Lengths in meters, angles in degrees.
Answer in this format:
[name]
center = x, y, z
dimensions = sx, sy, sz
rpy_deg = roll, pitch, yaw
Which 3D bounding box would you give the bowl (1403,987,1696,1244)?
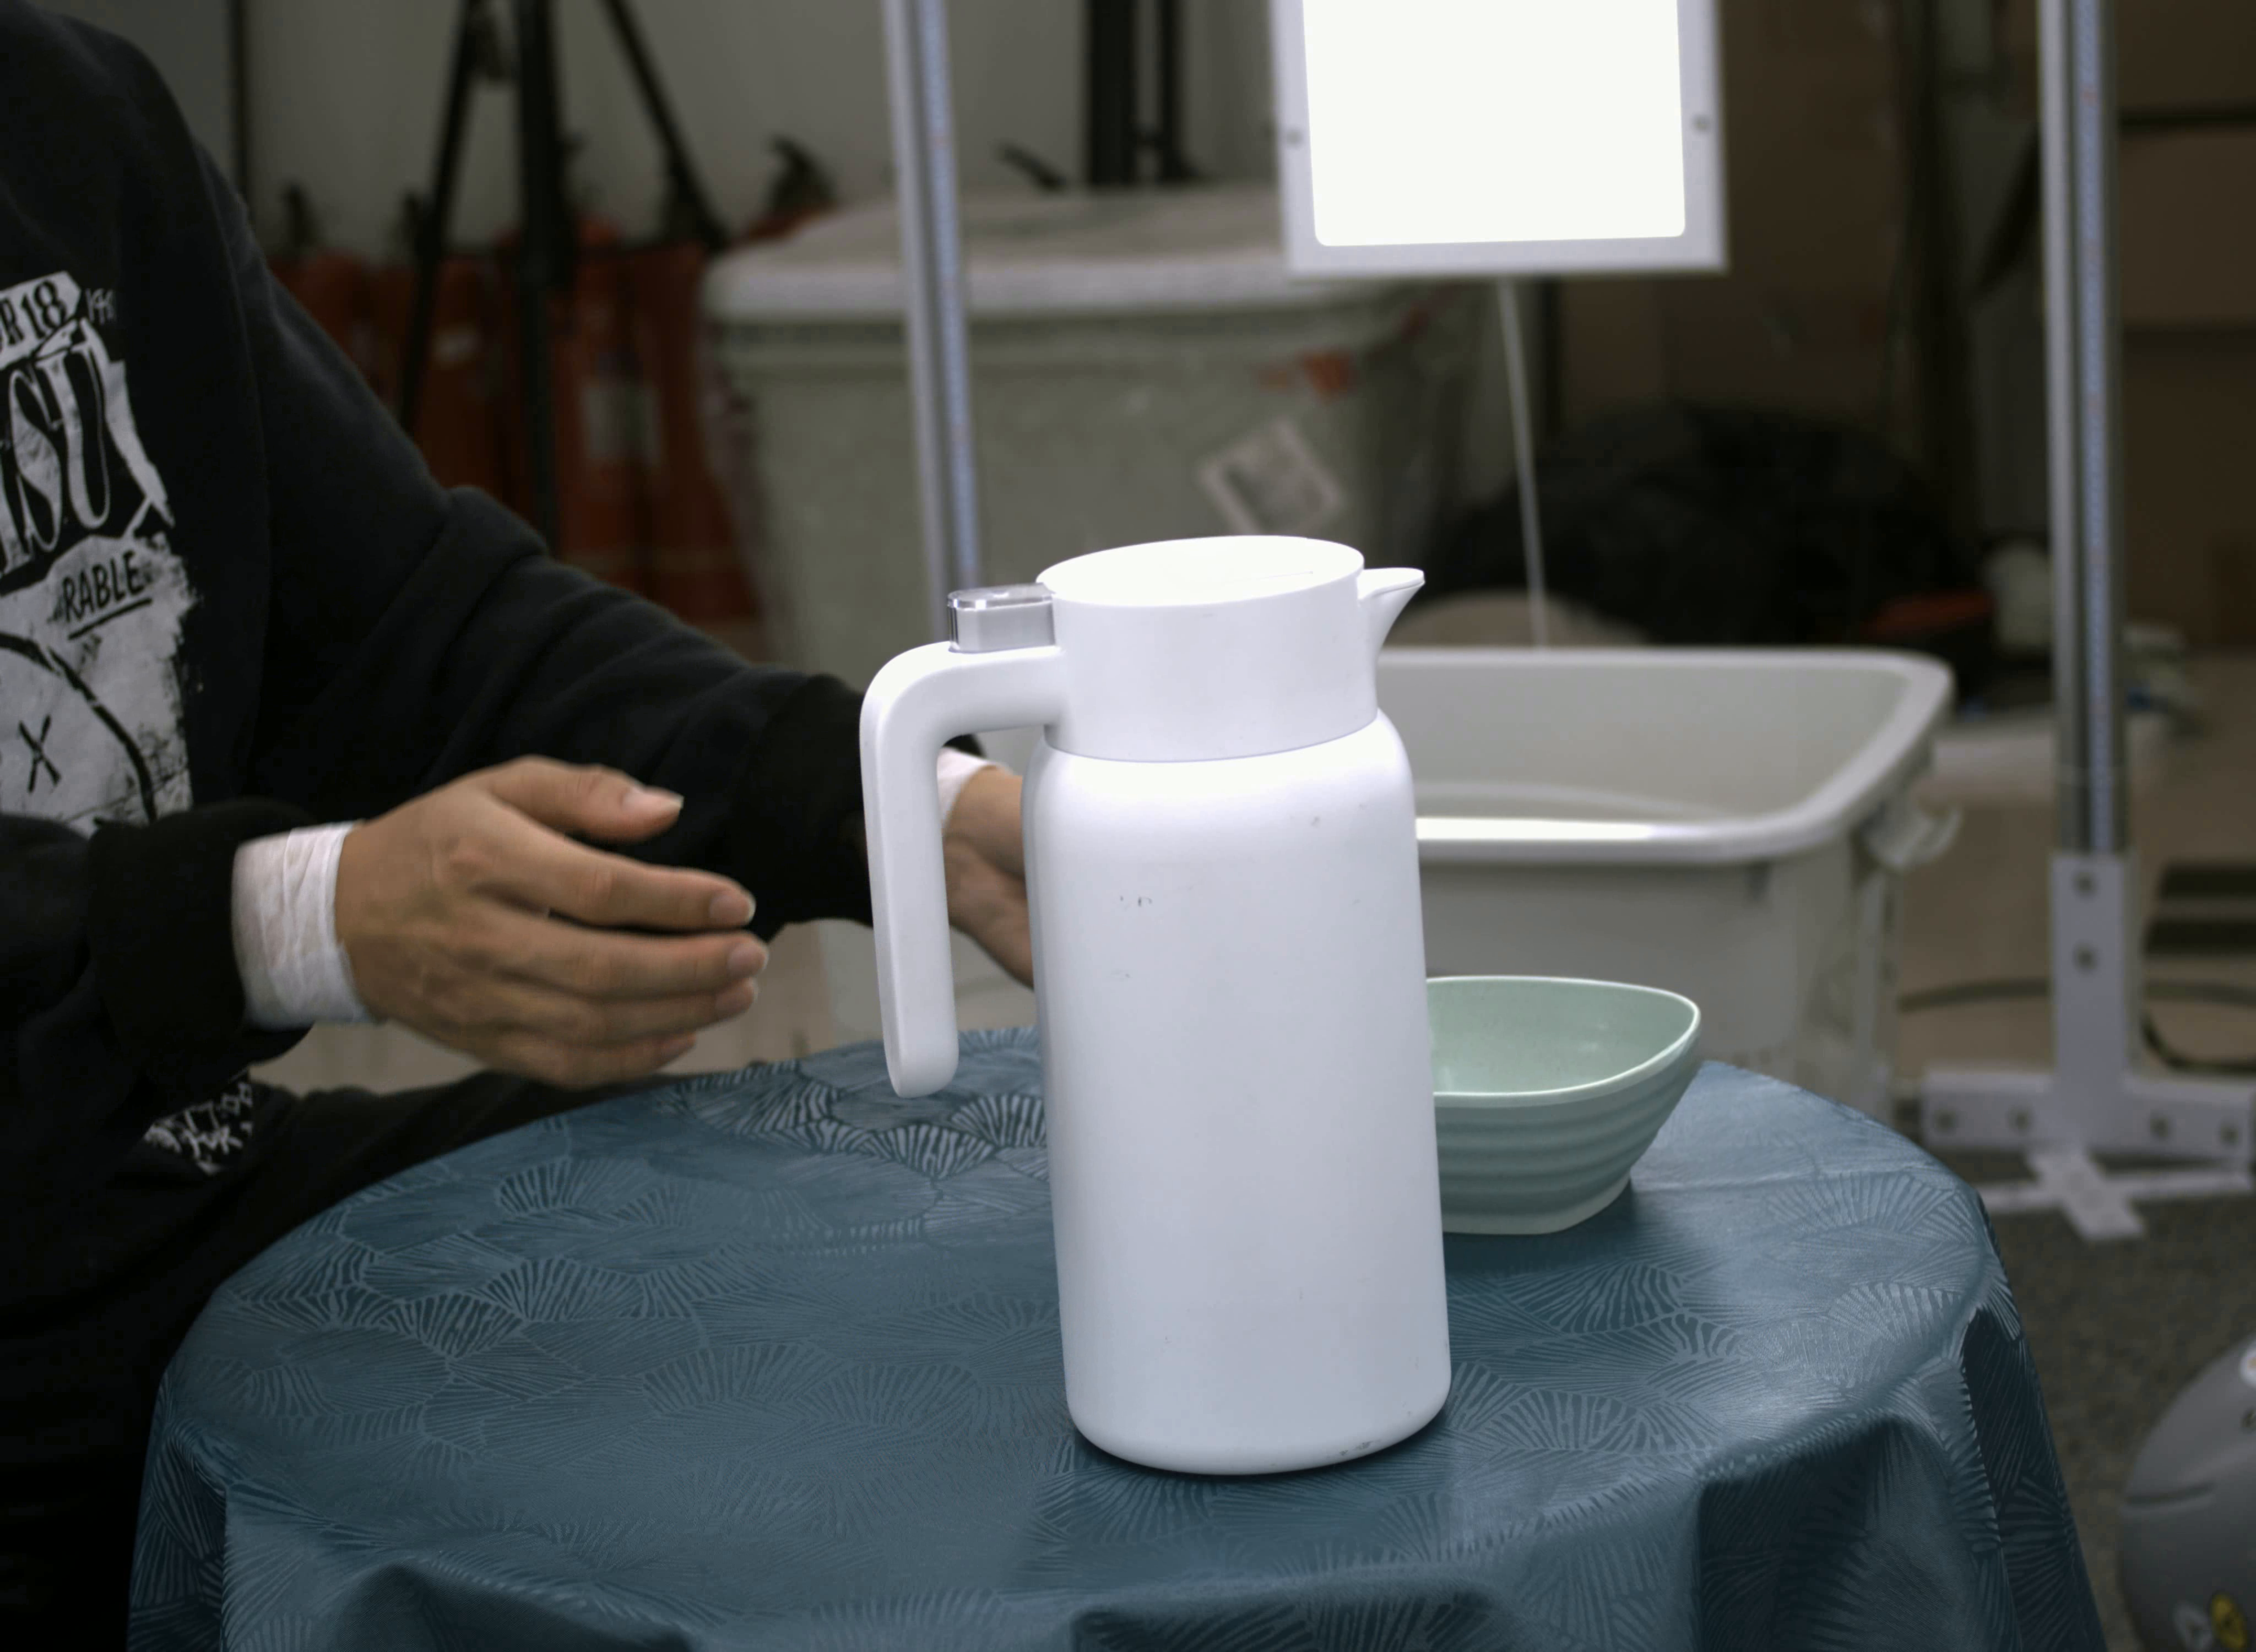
[bowl]
center = 0.121, 0.100, 1.852
dimensions = 0.151, 0.059, 0.151
rpy_deg = -5, 13, 0

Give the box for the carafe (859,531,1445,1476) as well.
[carafe]
center = 0.013, 0.053, 1.632
dimensions = 0.171, 0.270, 0.125
rpy_deg = -7, 16, -11
